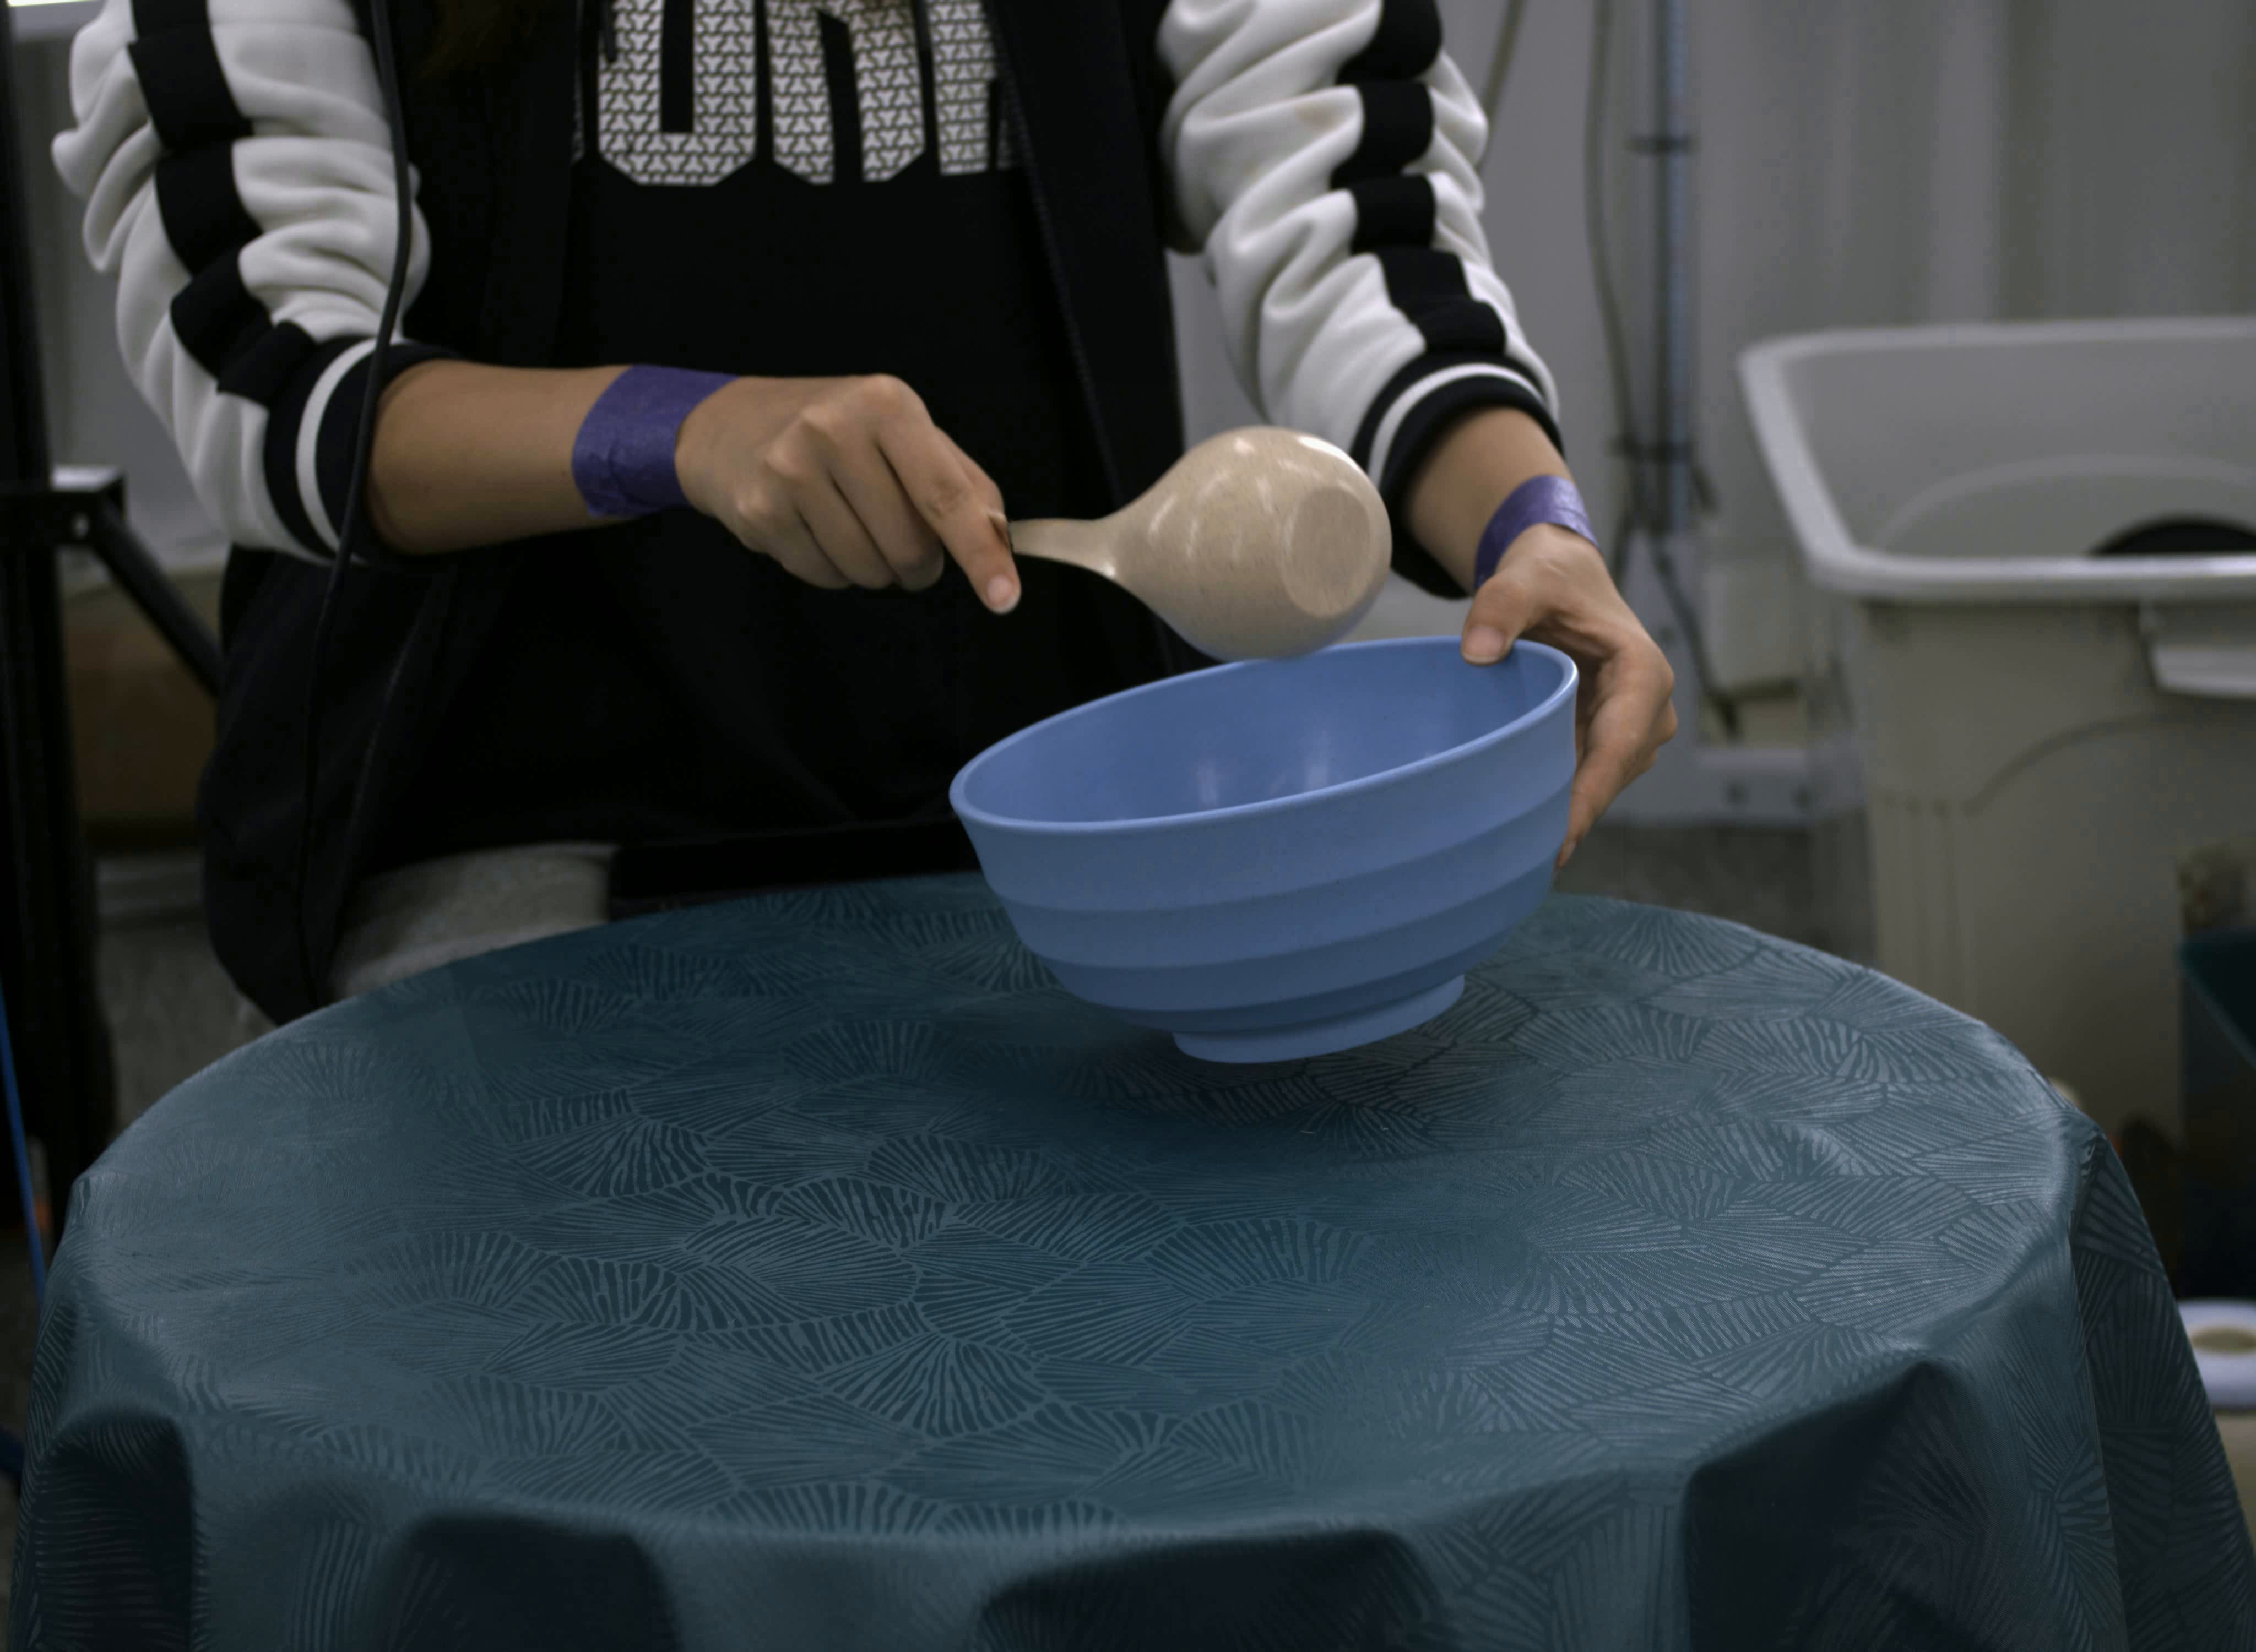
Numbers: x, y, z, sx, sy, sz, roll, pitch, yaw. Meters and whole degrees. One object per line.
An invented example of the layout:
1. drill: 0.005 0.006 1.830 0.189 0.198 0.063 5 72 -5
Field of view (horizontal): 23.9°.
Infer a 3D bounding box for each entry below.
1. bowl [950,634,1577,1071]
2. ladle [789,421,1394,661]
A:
1. bowl: 0.050 0.016 1.637 0.196 0.095 0.197 -12 14 2
2. ladle: -0.012 -0.099 1.683 0.071 0.072 0.260 -6 11 -32
